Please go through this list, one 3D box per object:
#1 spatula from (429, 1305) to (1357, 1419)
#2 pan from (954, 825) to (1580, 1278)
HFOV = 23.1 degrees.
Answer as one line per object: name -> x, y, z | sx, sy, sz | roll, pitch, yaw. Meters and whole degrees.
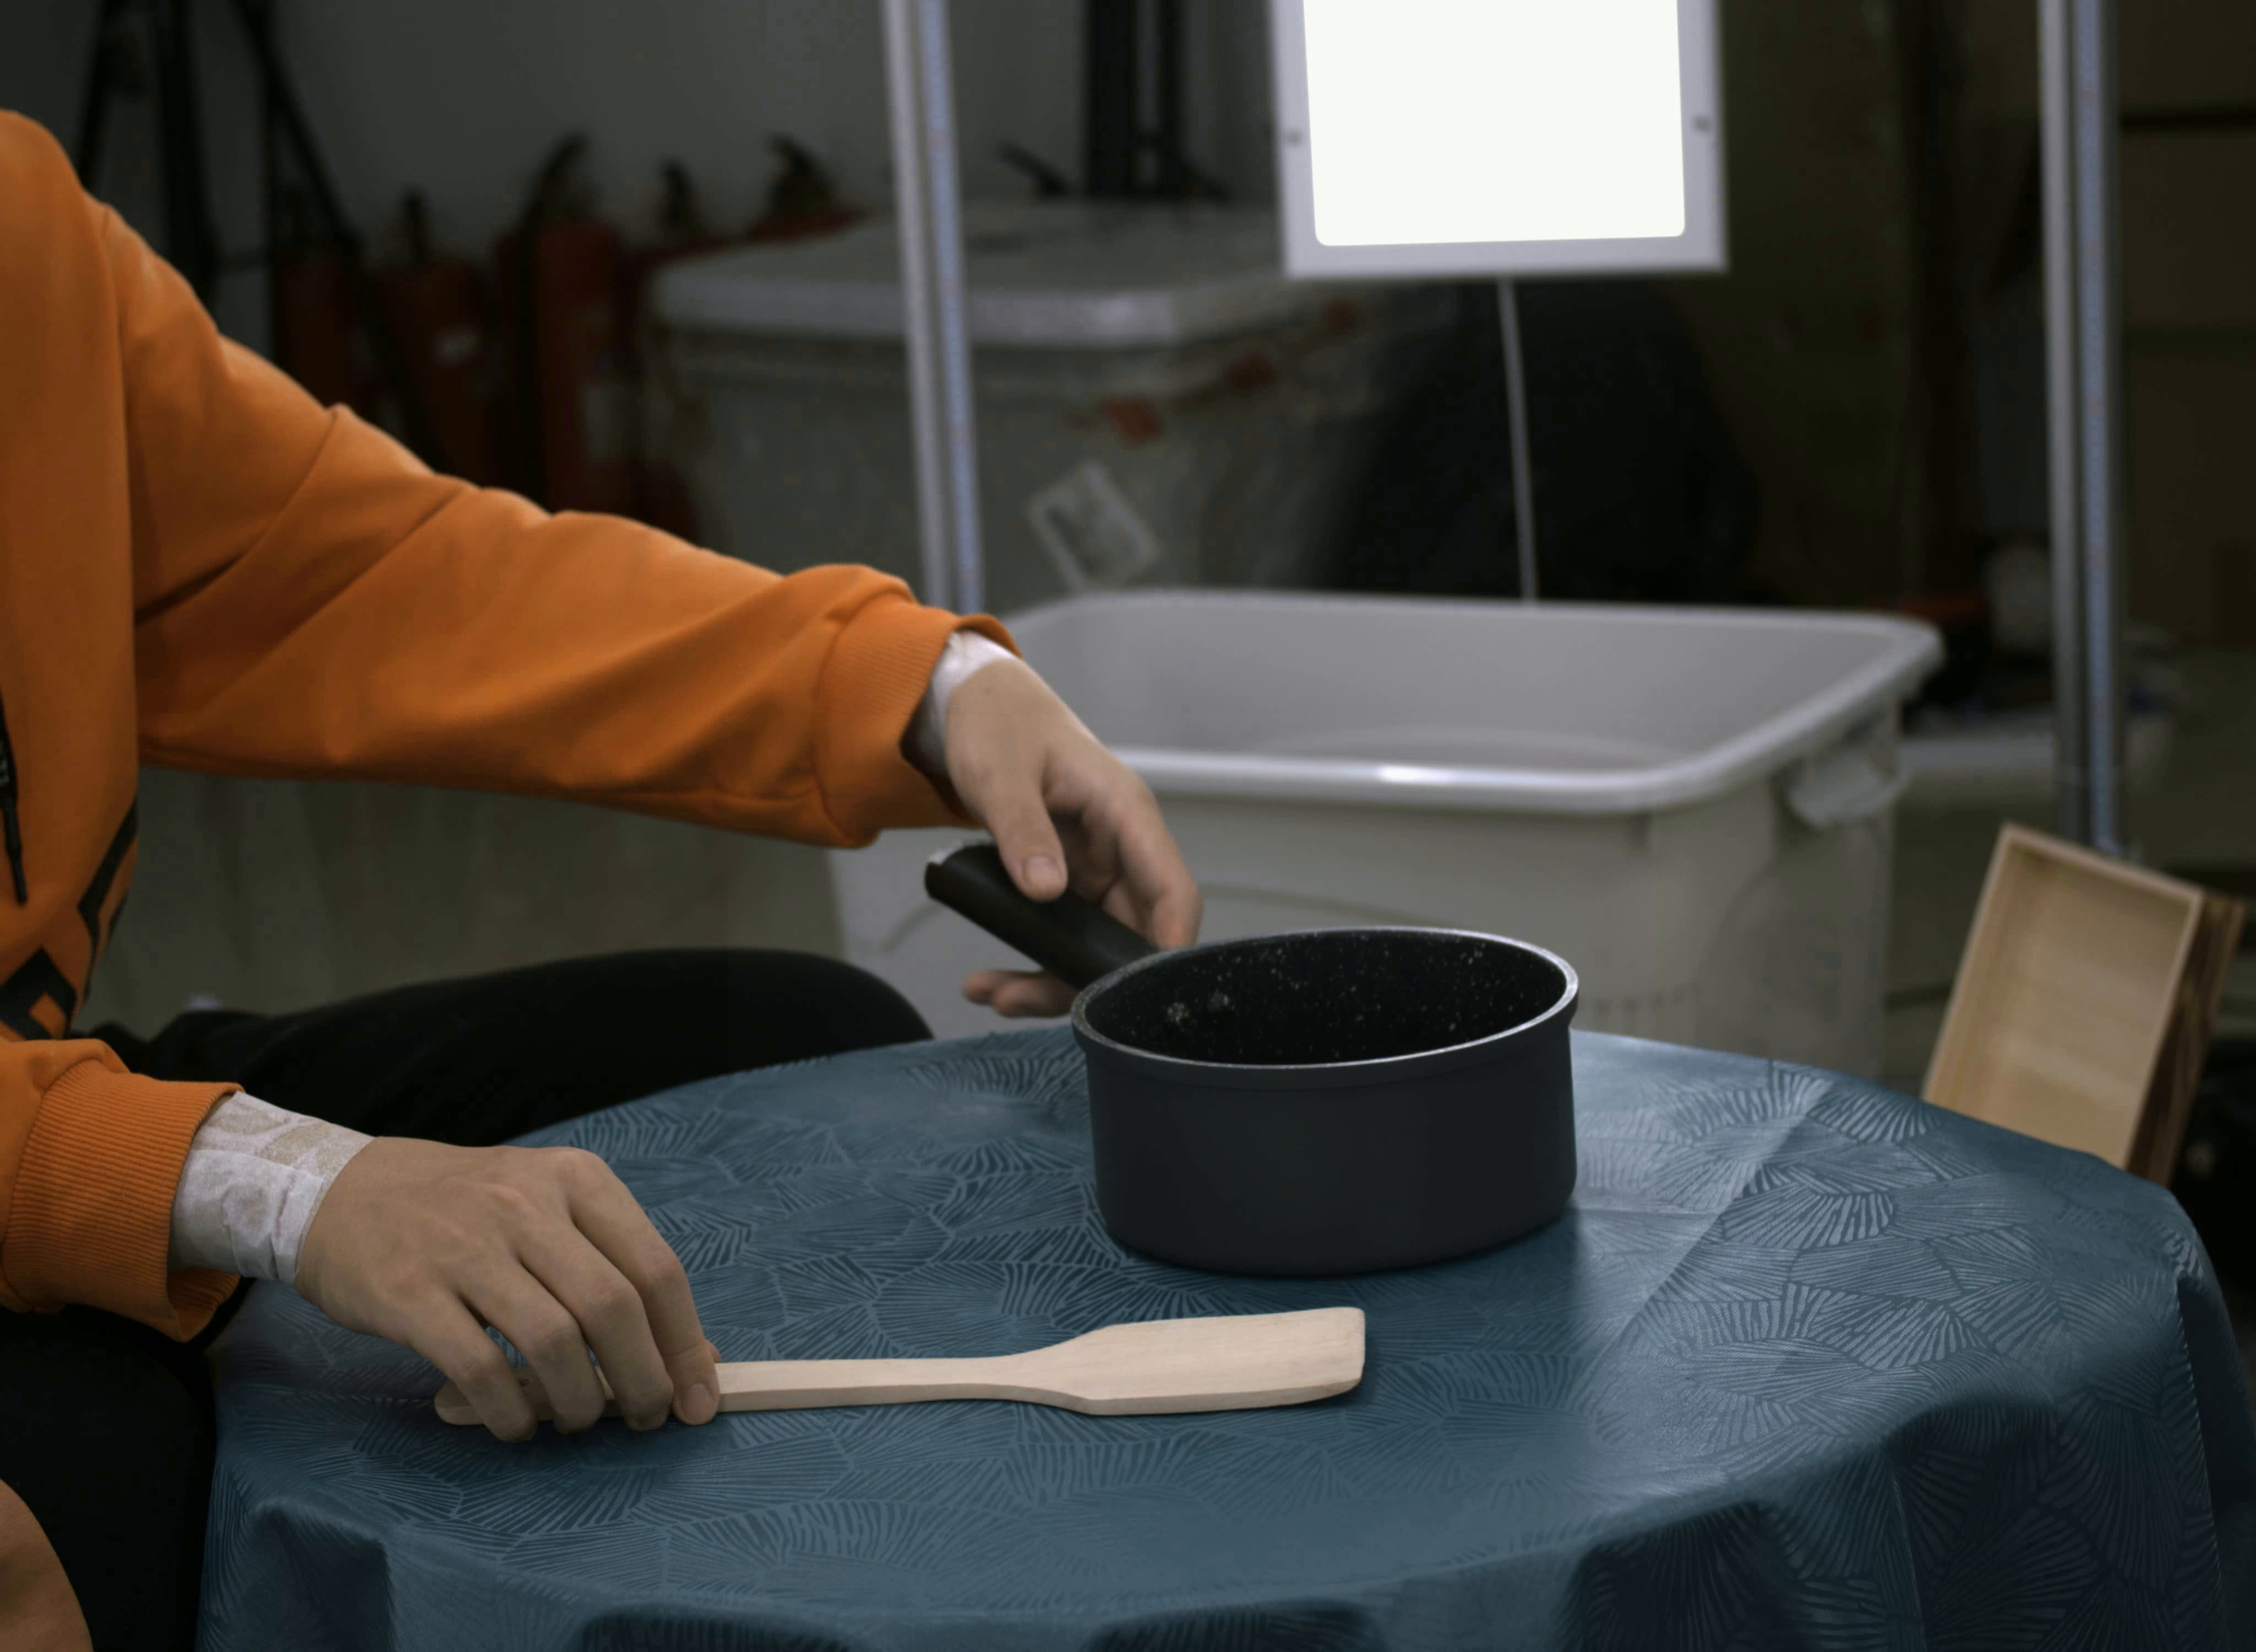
spatula -> -0.074, 0.172, 1.719 | 0.294, 0.011, 0.072 | -3, 18, 7
pan -> 0.029, 0.074, 1.921 | 0.168, 0.087, 0.334 | -11, 17, -27
